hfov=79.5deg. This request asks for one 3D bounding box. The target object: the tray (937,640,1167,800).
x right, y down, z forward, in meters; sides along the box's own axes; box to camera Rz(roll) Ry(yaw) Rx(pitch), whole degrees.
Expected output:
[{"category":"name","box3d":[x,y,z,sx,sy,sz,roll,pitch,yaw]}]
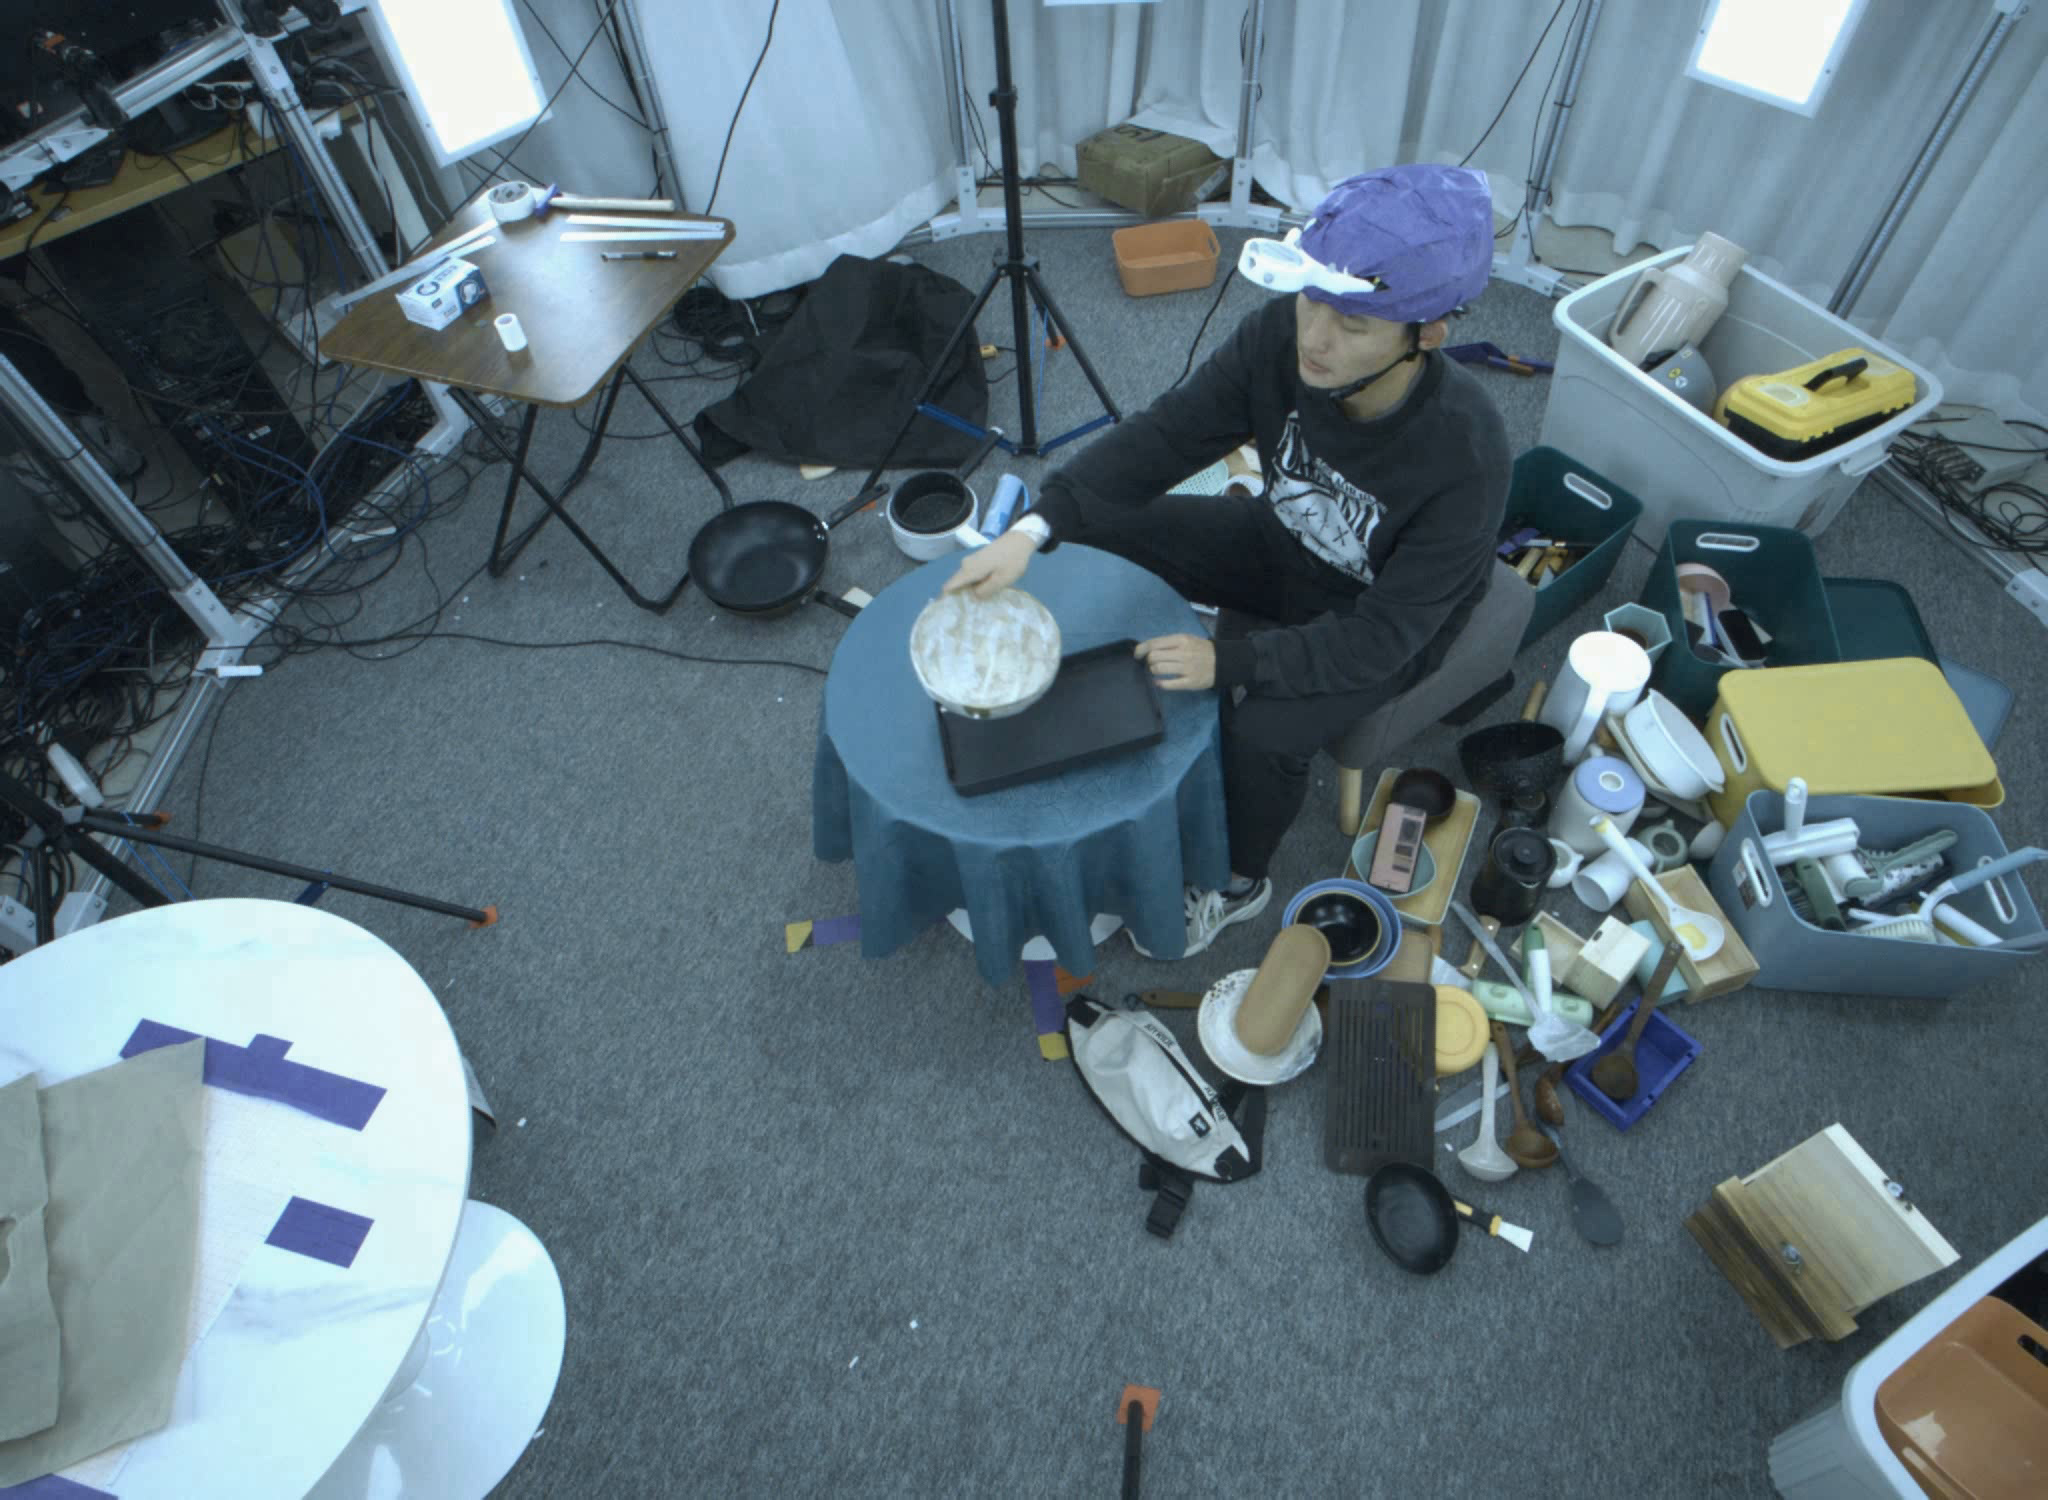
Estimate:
[{"category":"tray","box3d":[0.038,-0.044,1.781,0.317,0.037,0.182,-14,56,4]}]

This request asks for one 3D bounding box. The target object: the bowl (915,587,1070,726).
[{"category":"bowl","box3d":[-0.042,-0.112,1.679,0.215,0.095,0.213,2,62,-2]}]
